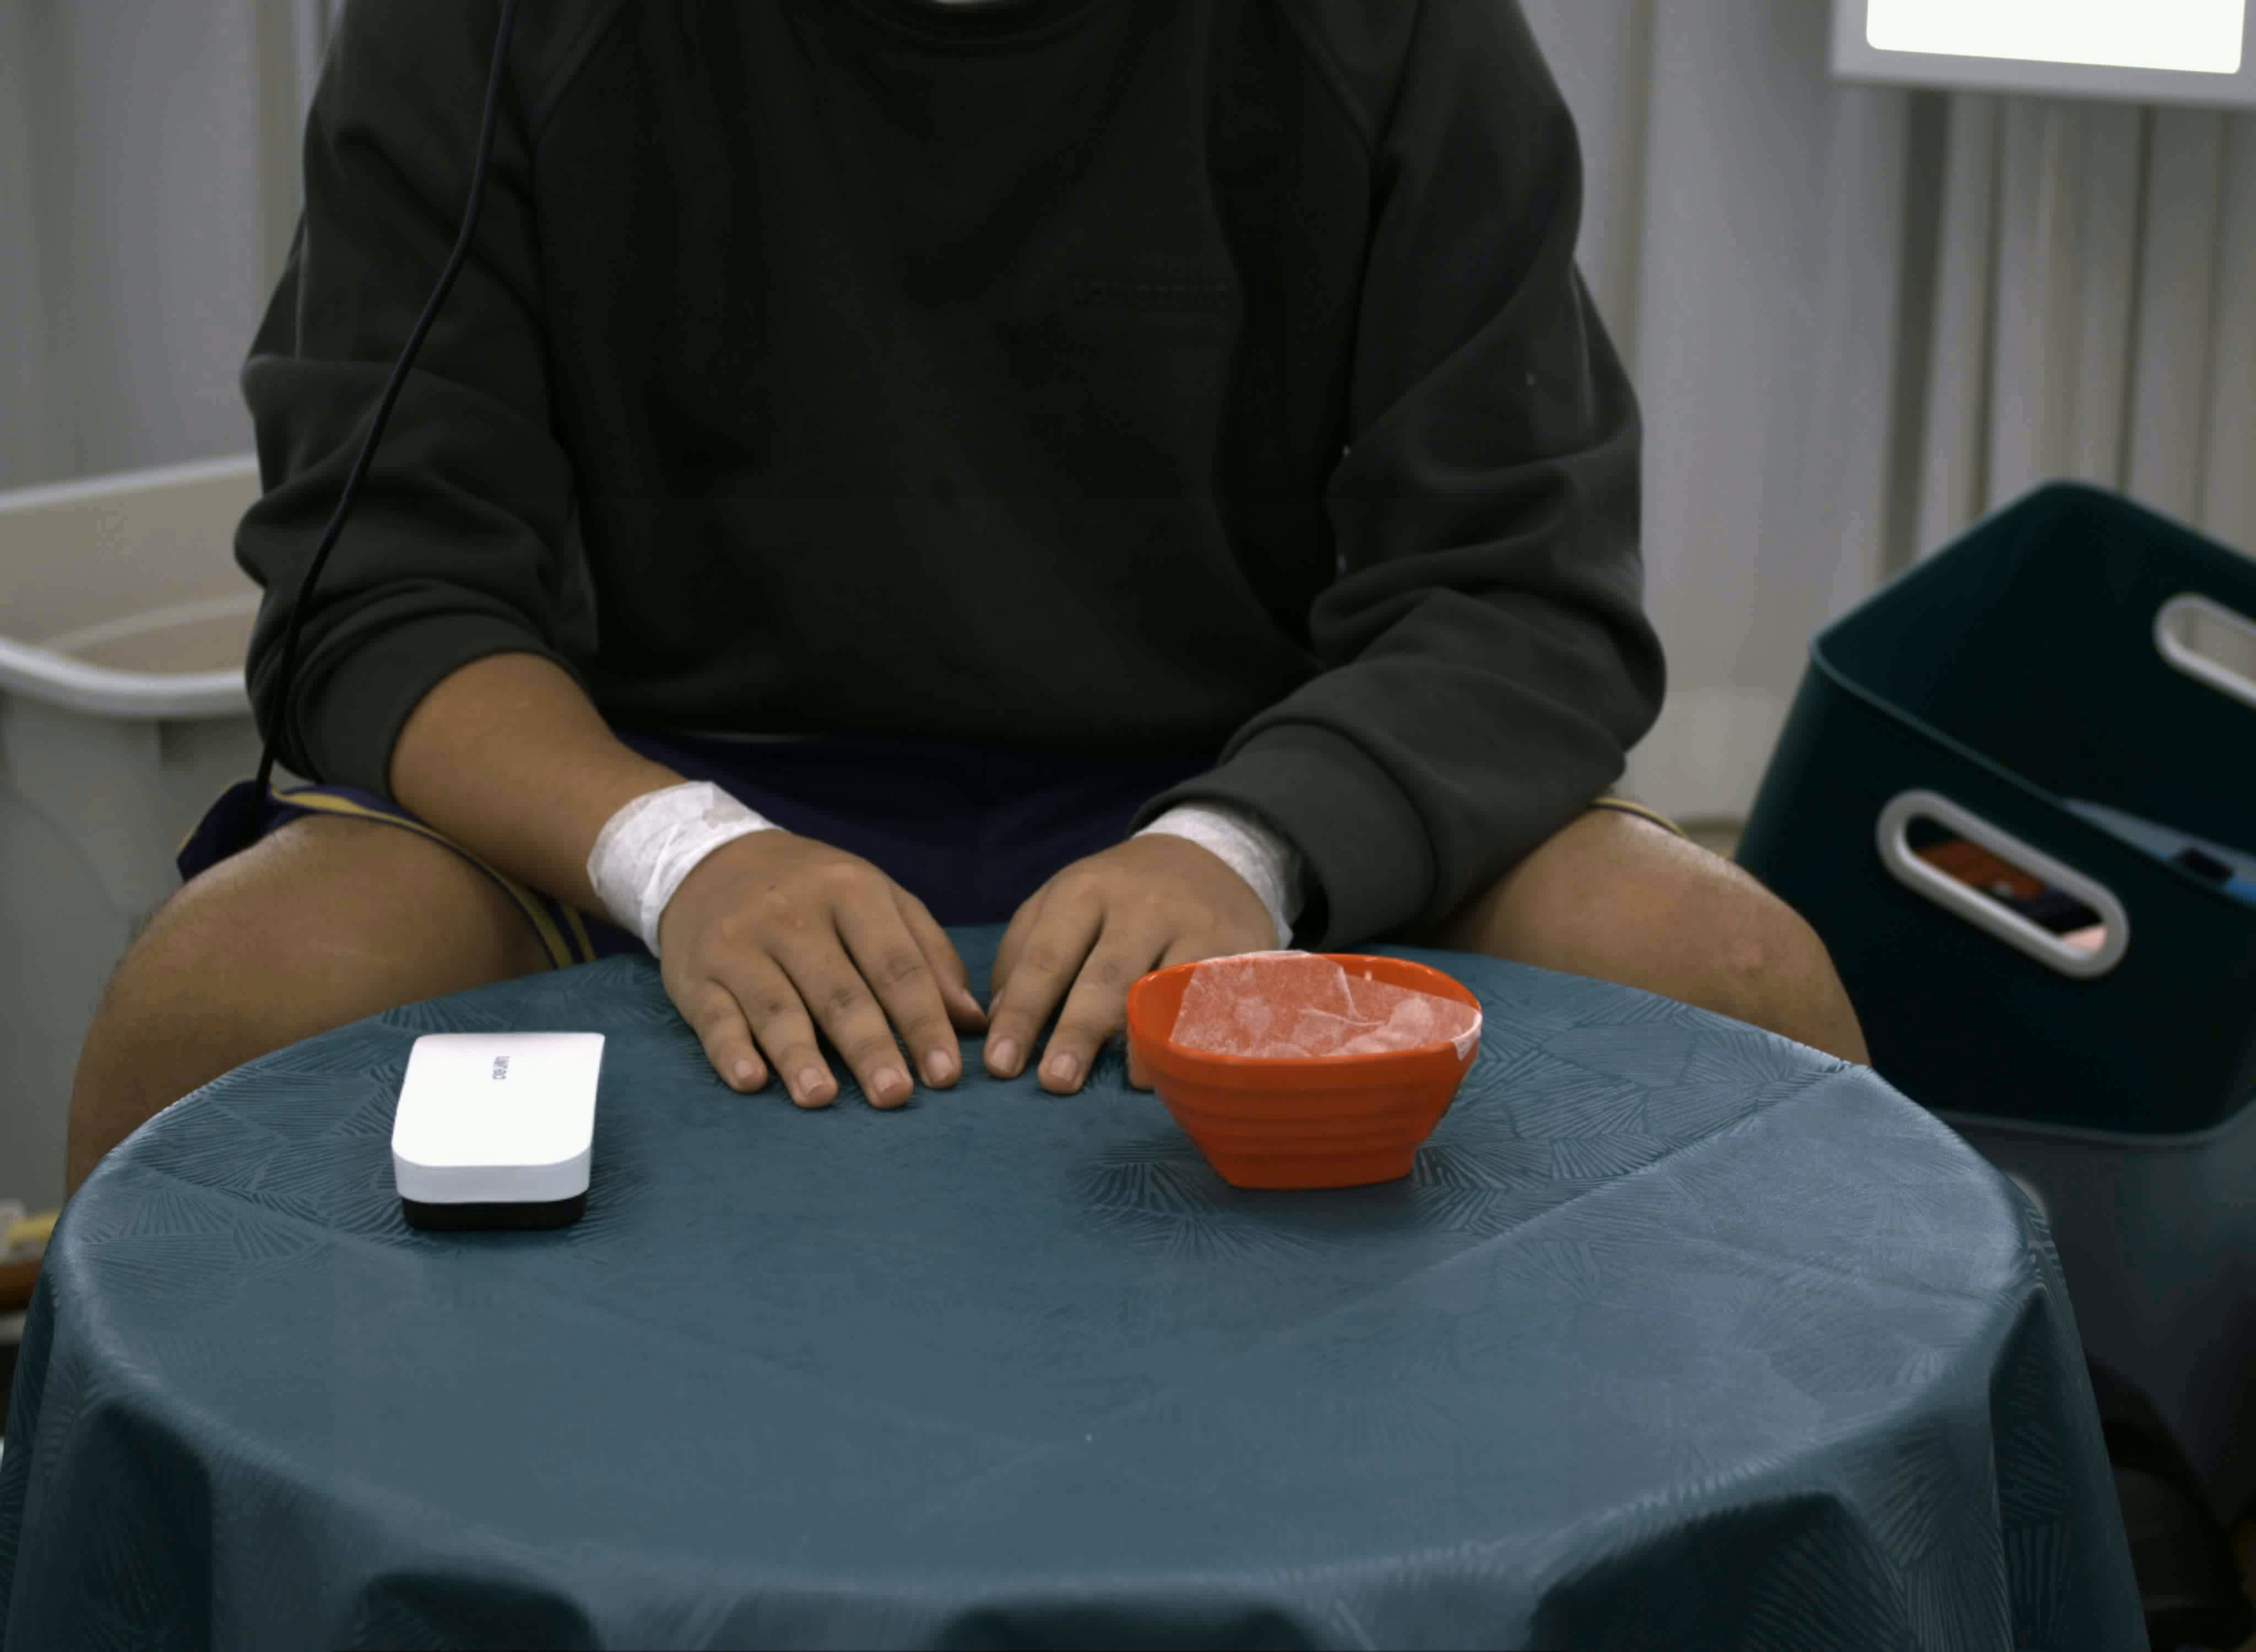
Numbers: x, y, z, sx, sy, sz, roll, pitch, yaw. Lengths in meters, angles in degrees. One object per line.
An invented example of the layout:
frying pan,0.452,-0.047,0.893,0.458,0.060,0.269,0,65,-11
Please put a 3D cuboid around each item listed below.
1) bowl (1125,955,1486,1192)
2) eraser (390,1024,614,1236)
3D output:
bowl,0.055,0.079,1.649,0.118,0.052,0.118,0,15,1
eraser,-0.193,0.090,1.636,0.063,0.035,0.130,1,17,-2
